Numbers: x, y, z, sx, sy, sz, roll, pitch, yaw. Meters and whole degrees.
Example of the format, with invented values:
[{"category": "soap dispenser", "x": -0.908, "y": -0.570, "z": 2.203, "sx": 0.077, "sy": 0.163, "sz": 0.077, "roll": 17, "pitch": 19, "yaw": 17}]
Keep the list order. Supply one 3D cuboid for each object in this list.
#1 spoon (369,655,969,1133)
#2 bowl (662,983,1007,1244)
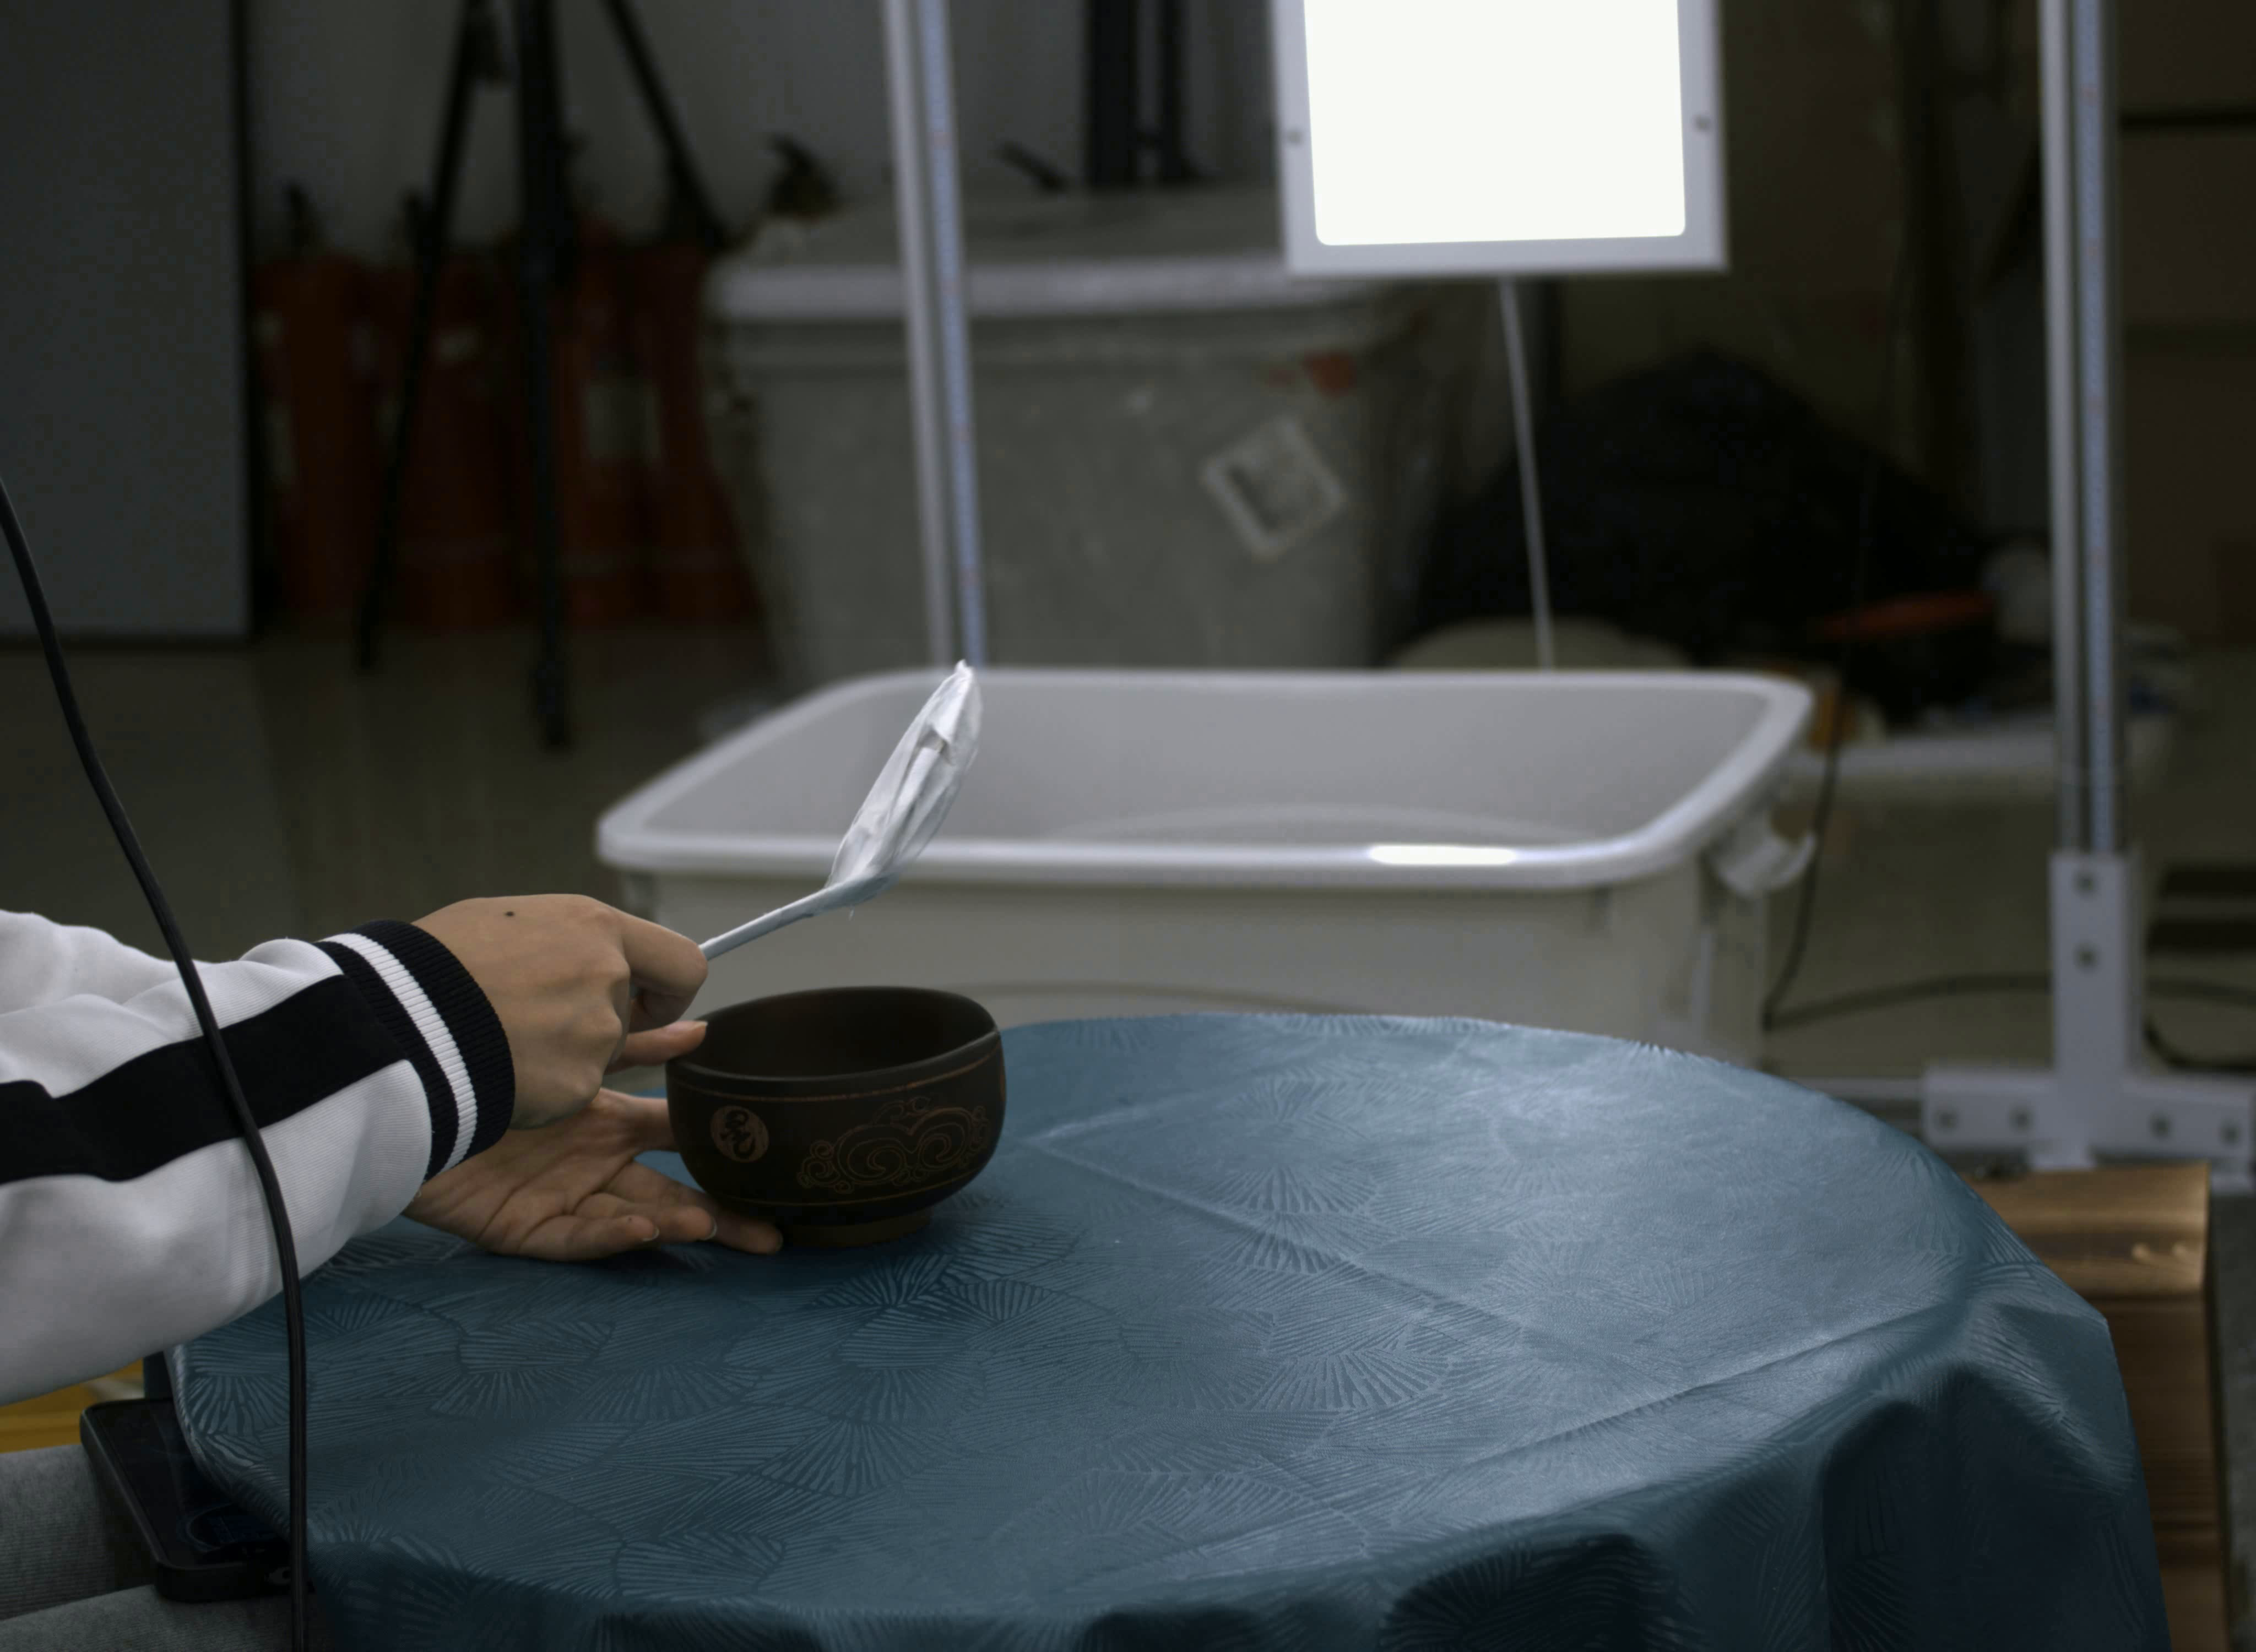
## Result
[{"category": "spoon", "x": -0.148, "y": 0.024, "z": 1.761, "sx": 0.271, "sy": 0.060, "sz": 0.102, "roll": -27, "pitch": -20, "yaw": -36}, {"category": "bowl", "x": -0.099, "y": 0.101, "z": 1.883, "sx": 0.118, "sy": 0.070, "sz": 0.118, "roll": -5, "pitch": 13, "yaw": 0}]
